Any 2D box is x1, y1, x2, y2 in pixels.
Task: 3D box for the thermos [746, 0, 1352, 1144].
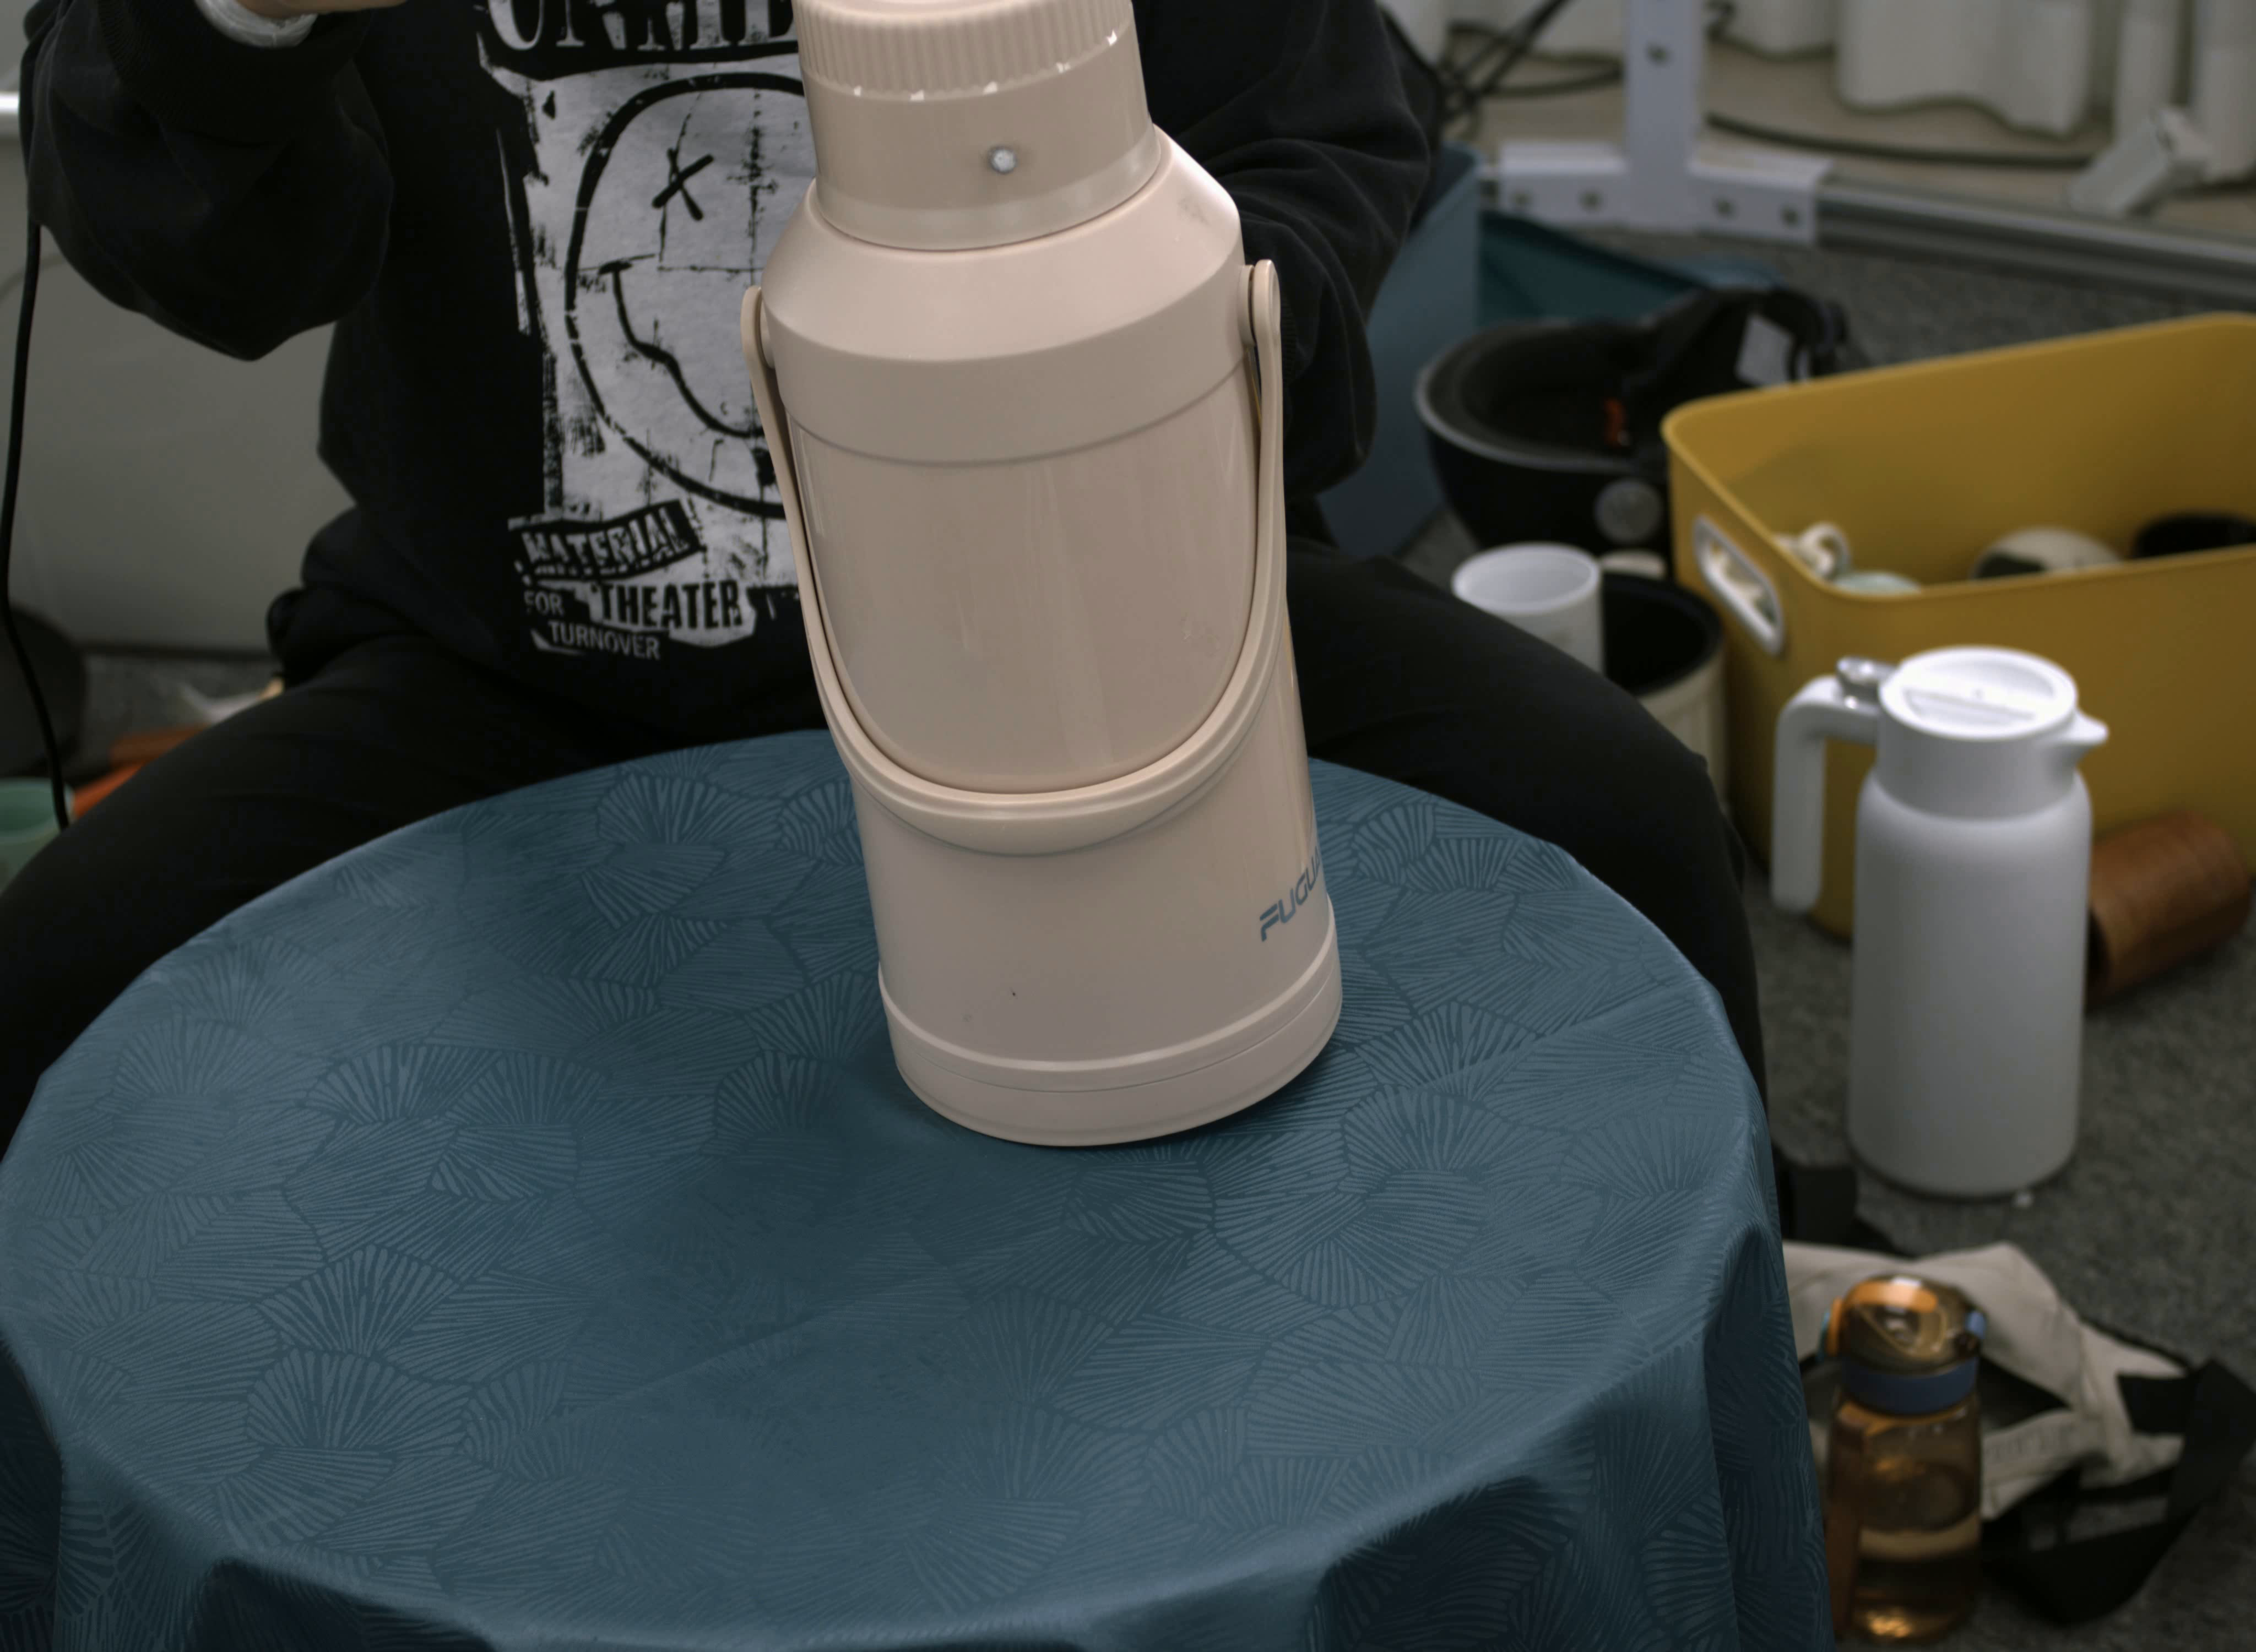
[{"bbox_3d":[-0.023,-0.111,1.870,0.174,0.402,0.211,-4,29,11],"label":"thermos"}]
